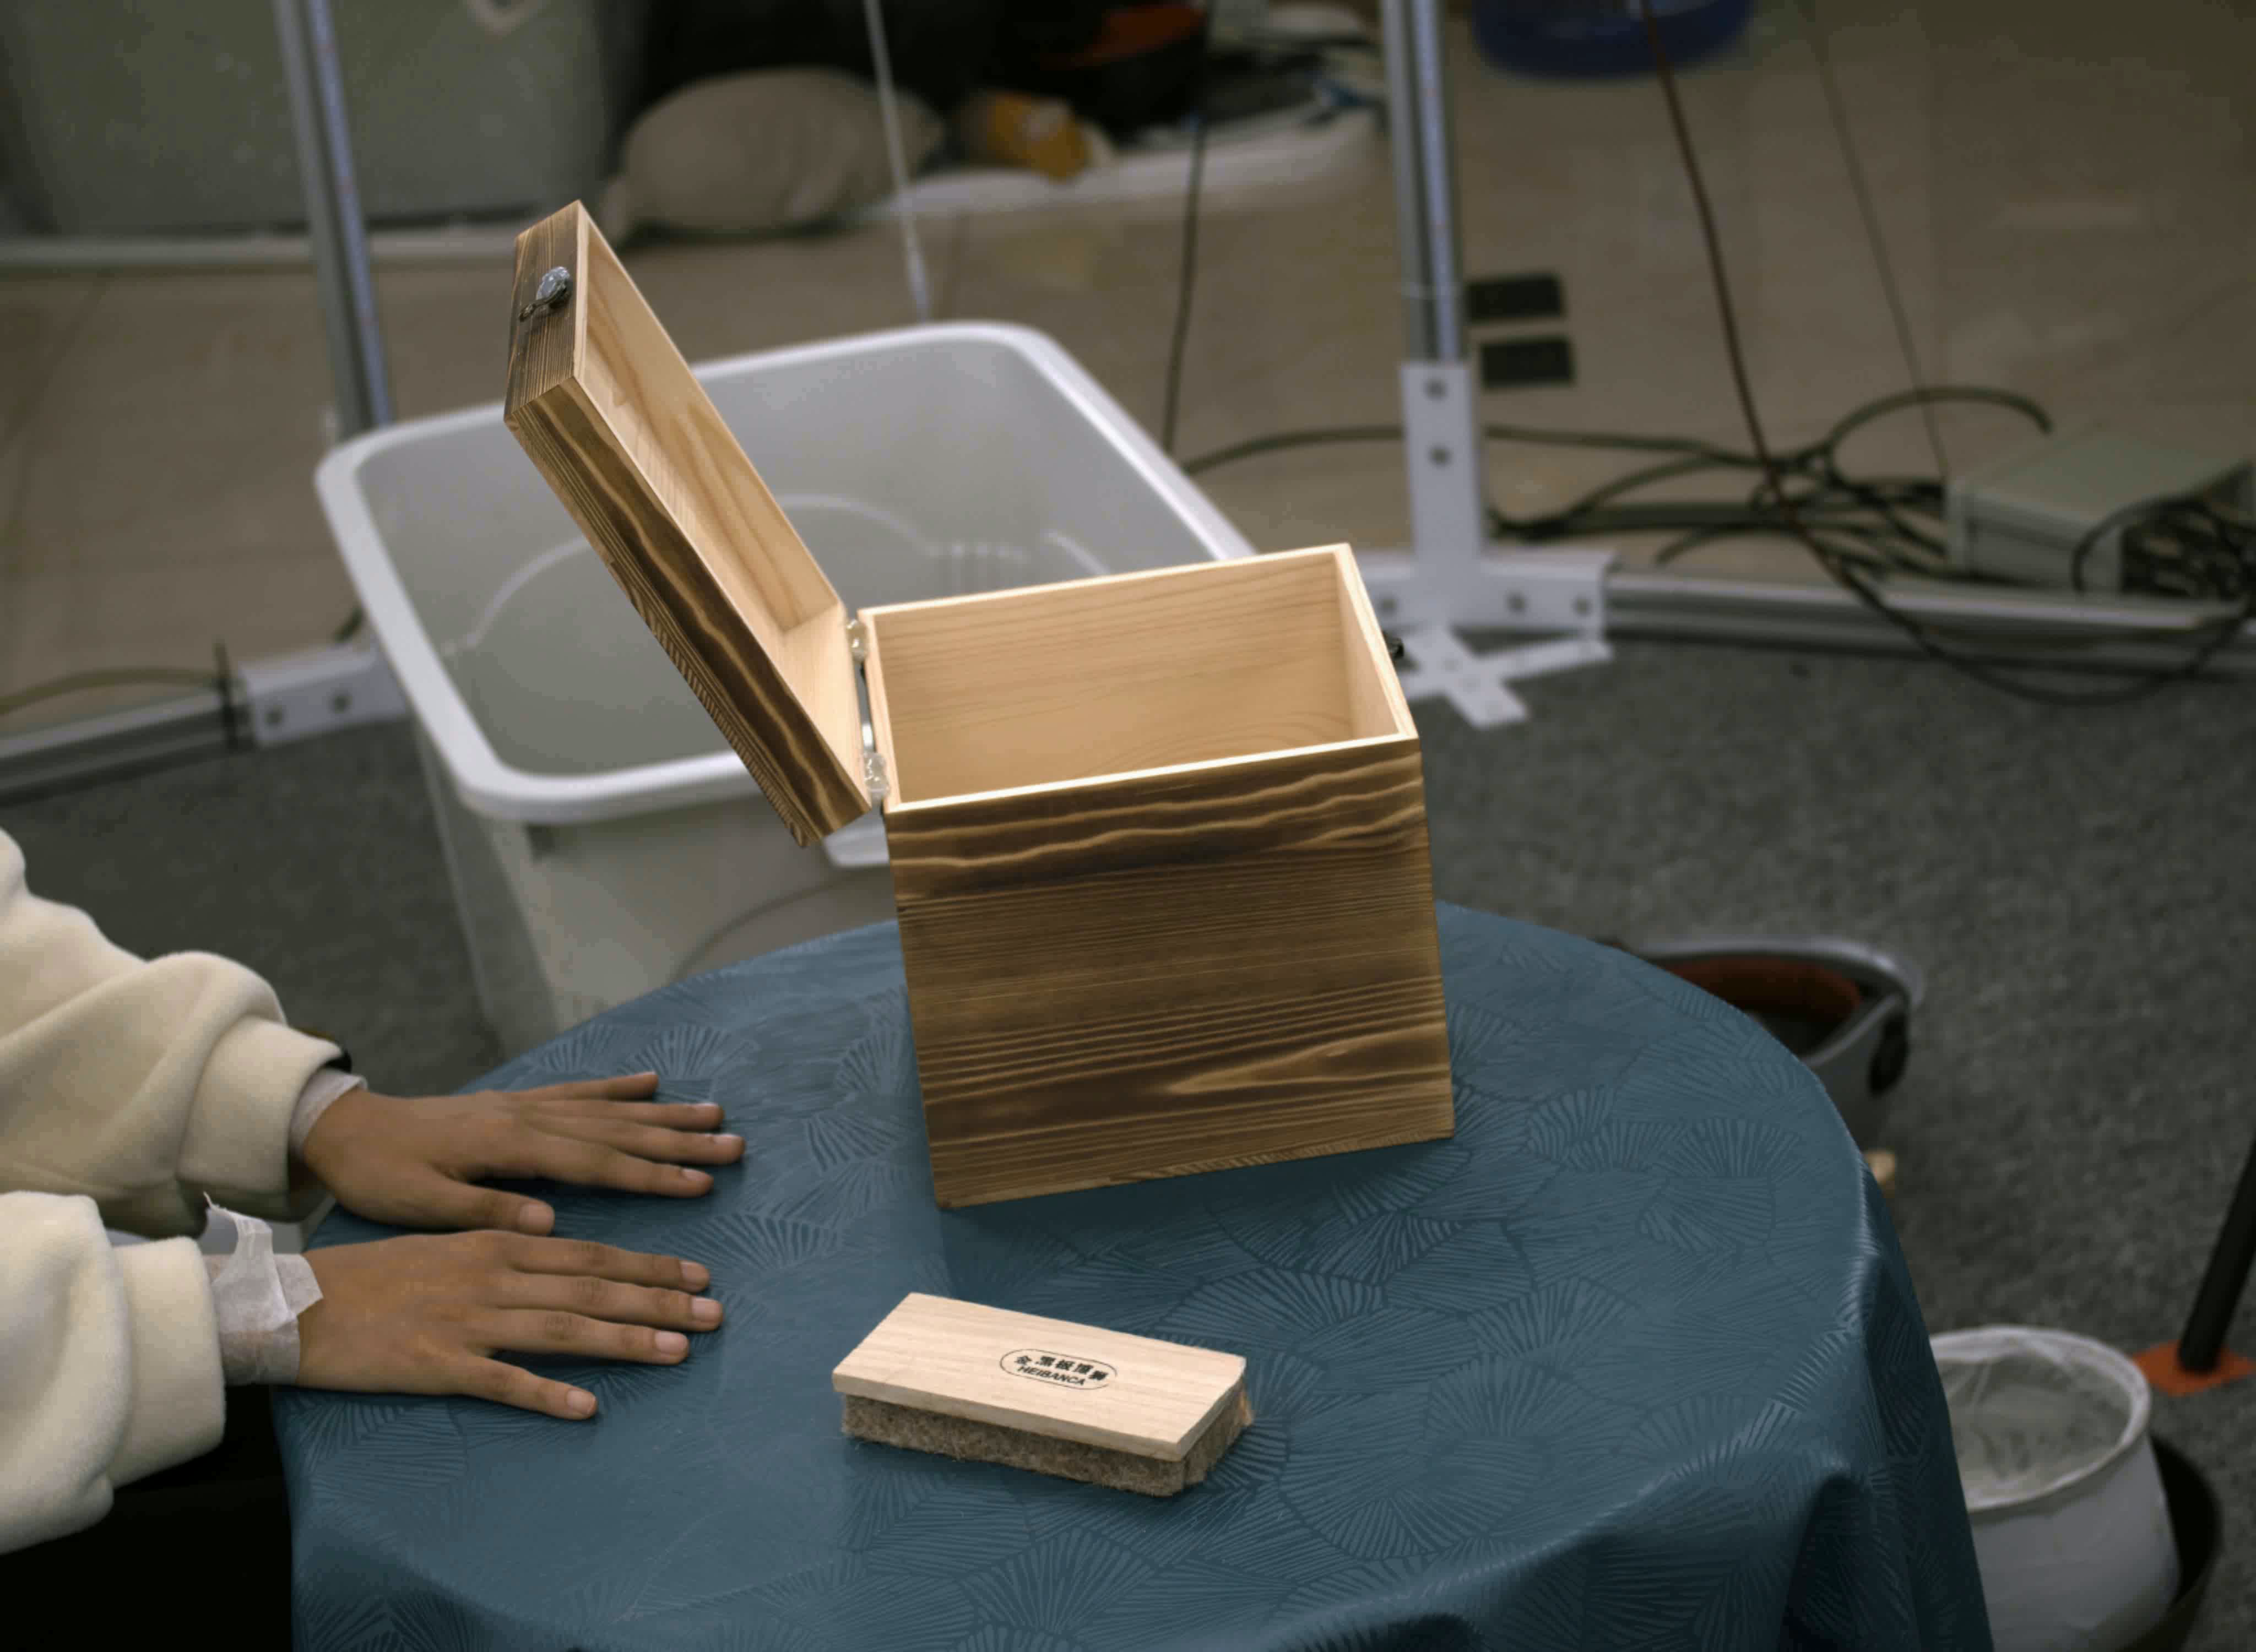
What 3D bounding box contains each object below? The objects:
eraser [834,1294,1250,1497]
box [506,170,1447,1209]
[{"bbox_3d":[-0.030,0.200,1.989,0.139,0.029,0.056,8,31,30],"label":"eraser"},{"bbox_3d":[-0.052,-0.064,2.158,0.321,0.381,0.205,-8,27,-3],"label":"box"}]
